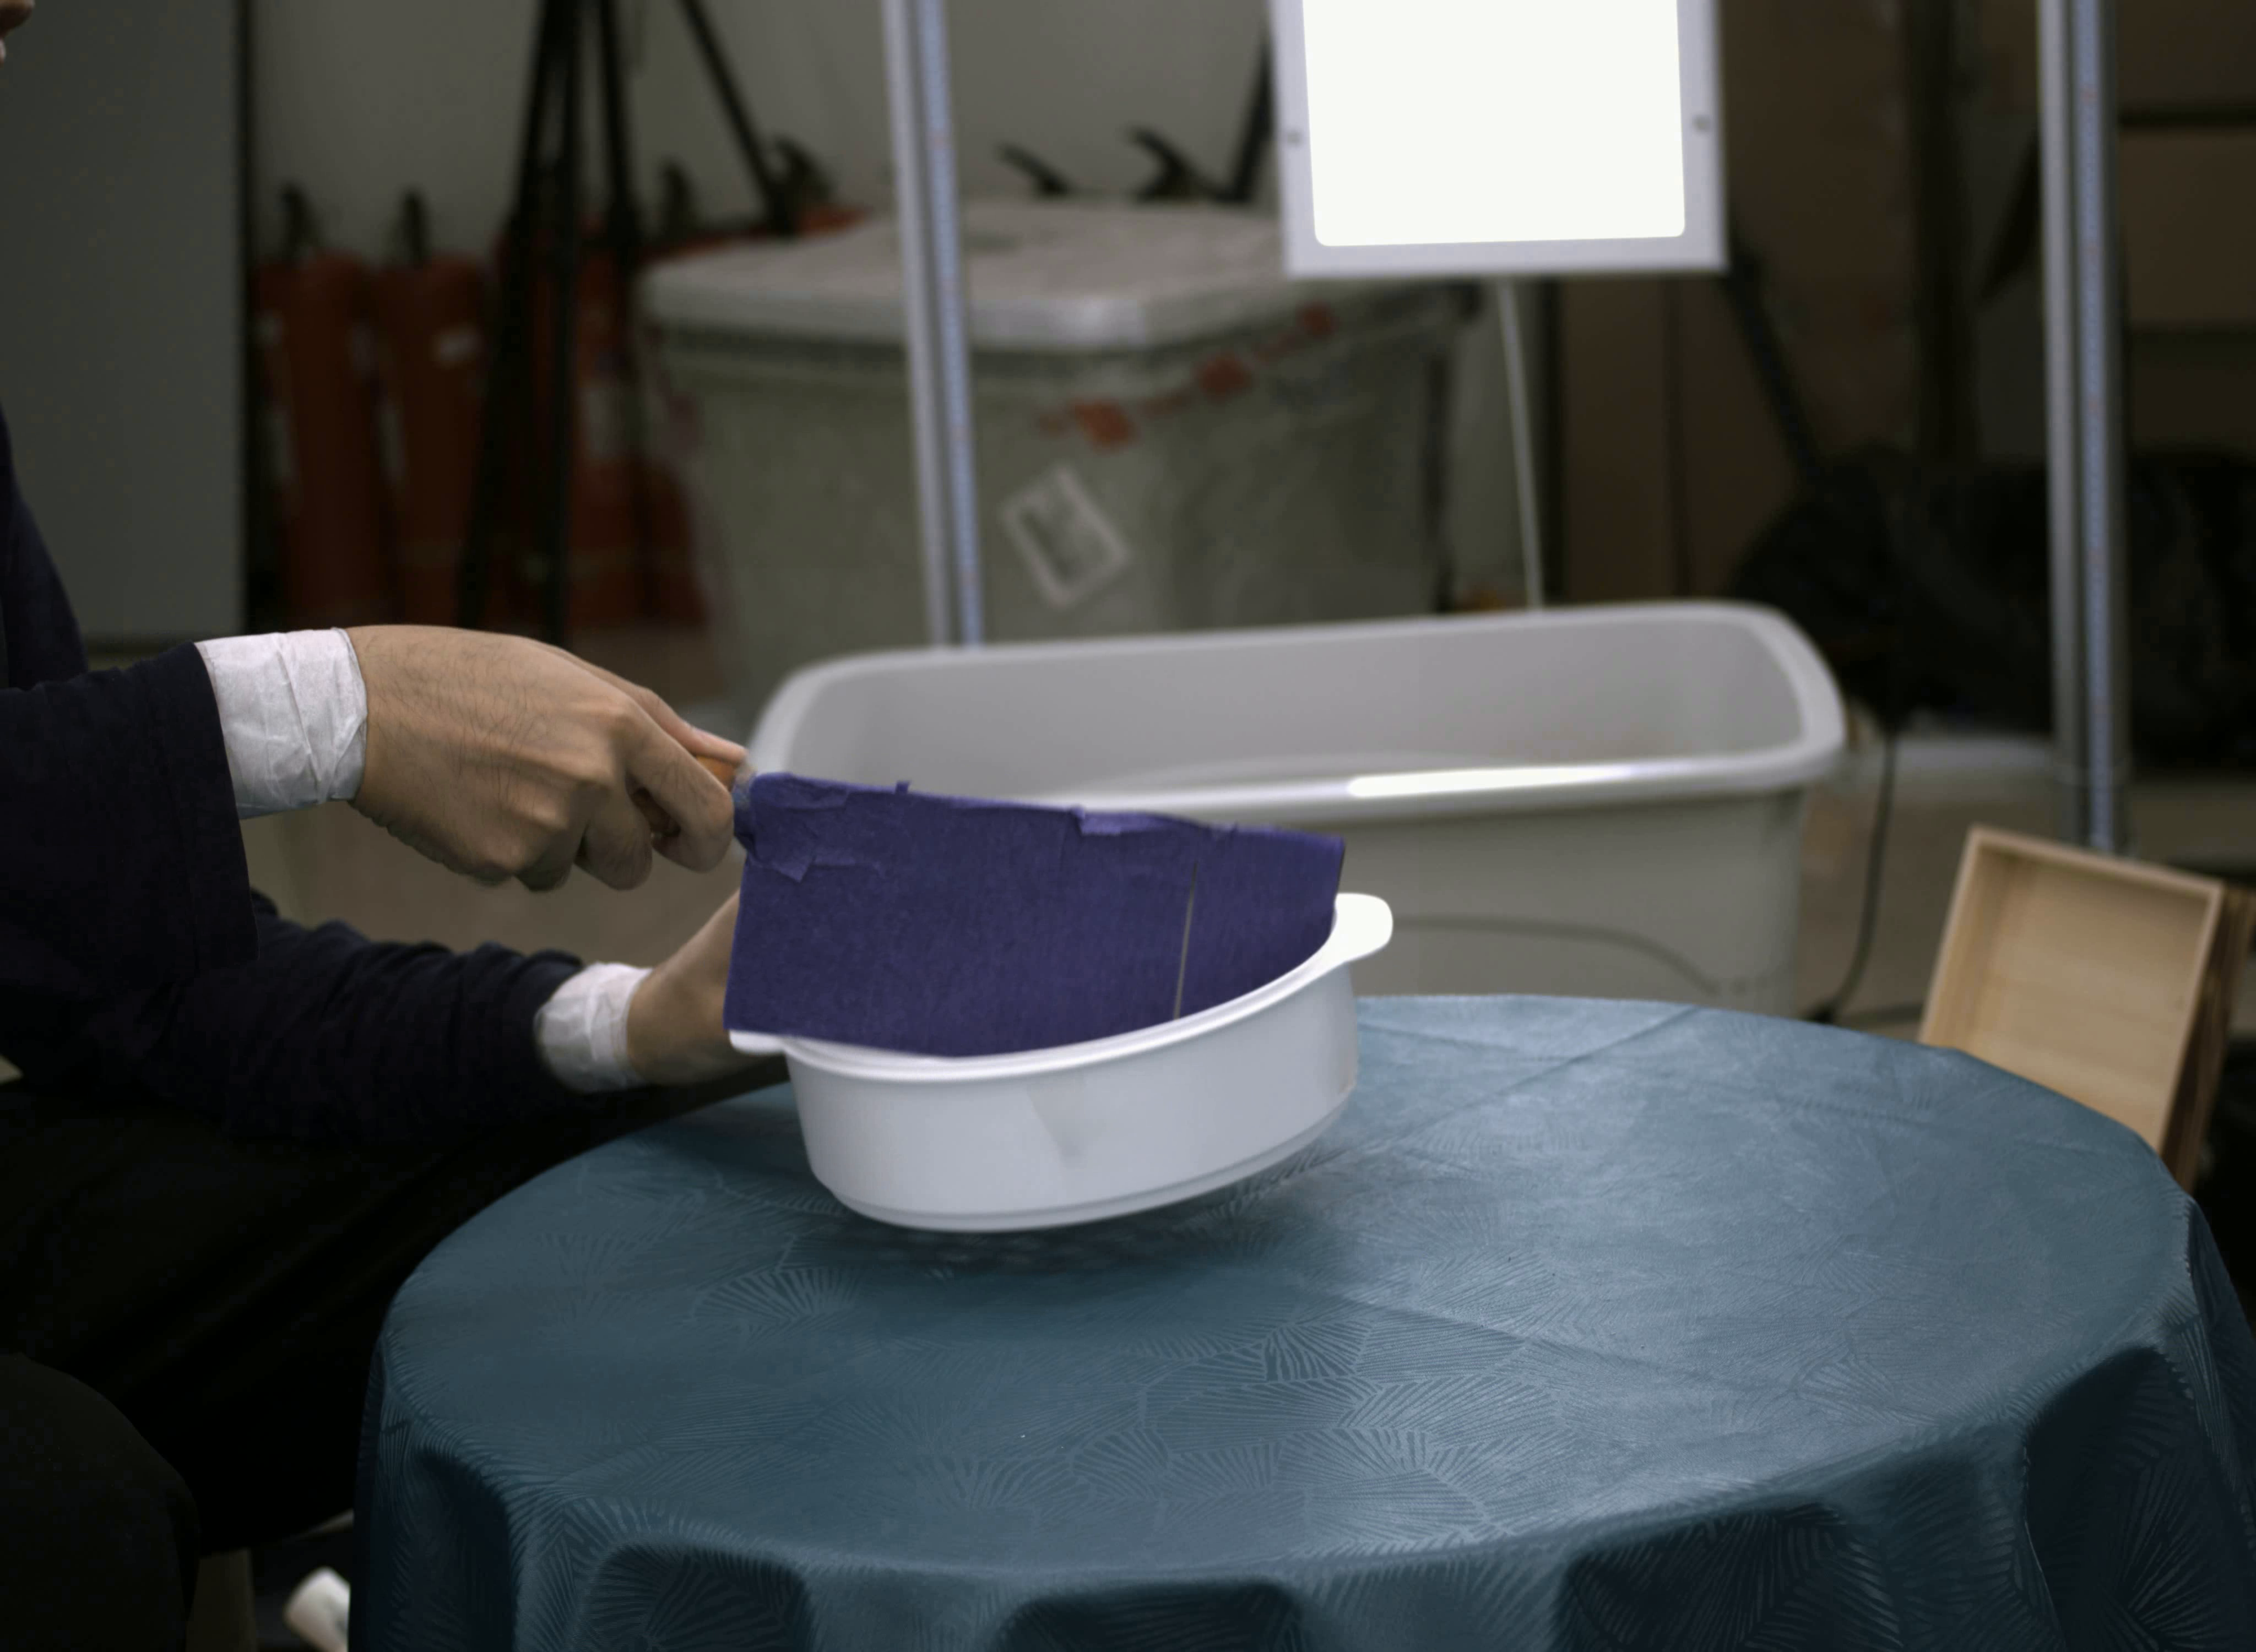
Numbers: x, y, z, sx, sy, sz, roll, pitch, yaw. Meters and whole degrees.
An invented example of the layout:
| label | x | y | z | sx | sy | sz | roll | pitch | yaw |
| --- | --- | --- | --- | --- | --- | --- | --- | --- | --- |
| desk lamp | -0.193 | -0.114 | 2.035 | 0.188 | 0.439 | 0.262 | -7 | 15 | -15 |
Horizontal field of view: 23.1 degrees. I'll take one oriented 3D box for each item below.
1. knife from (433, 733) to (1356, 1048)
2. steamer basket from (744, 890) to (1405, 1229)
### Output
| label | x | y | z | sx | sy | sz | roll | pitch | yaw |
| --- | --- | --- | --- | --- | --- | --- | --- | --- | --- |
| knife | -0.078 | 0.026 | 1.844 | 0.312 | 0.104 | 0.032 | 5 | 11 | -9 |
| steamer basket | -0.014 | 0.077 | 1.886 | 0.231 | 0.069 | 0.201 | -10 | 14 | 6 |
